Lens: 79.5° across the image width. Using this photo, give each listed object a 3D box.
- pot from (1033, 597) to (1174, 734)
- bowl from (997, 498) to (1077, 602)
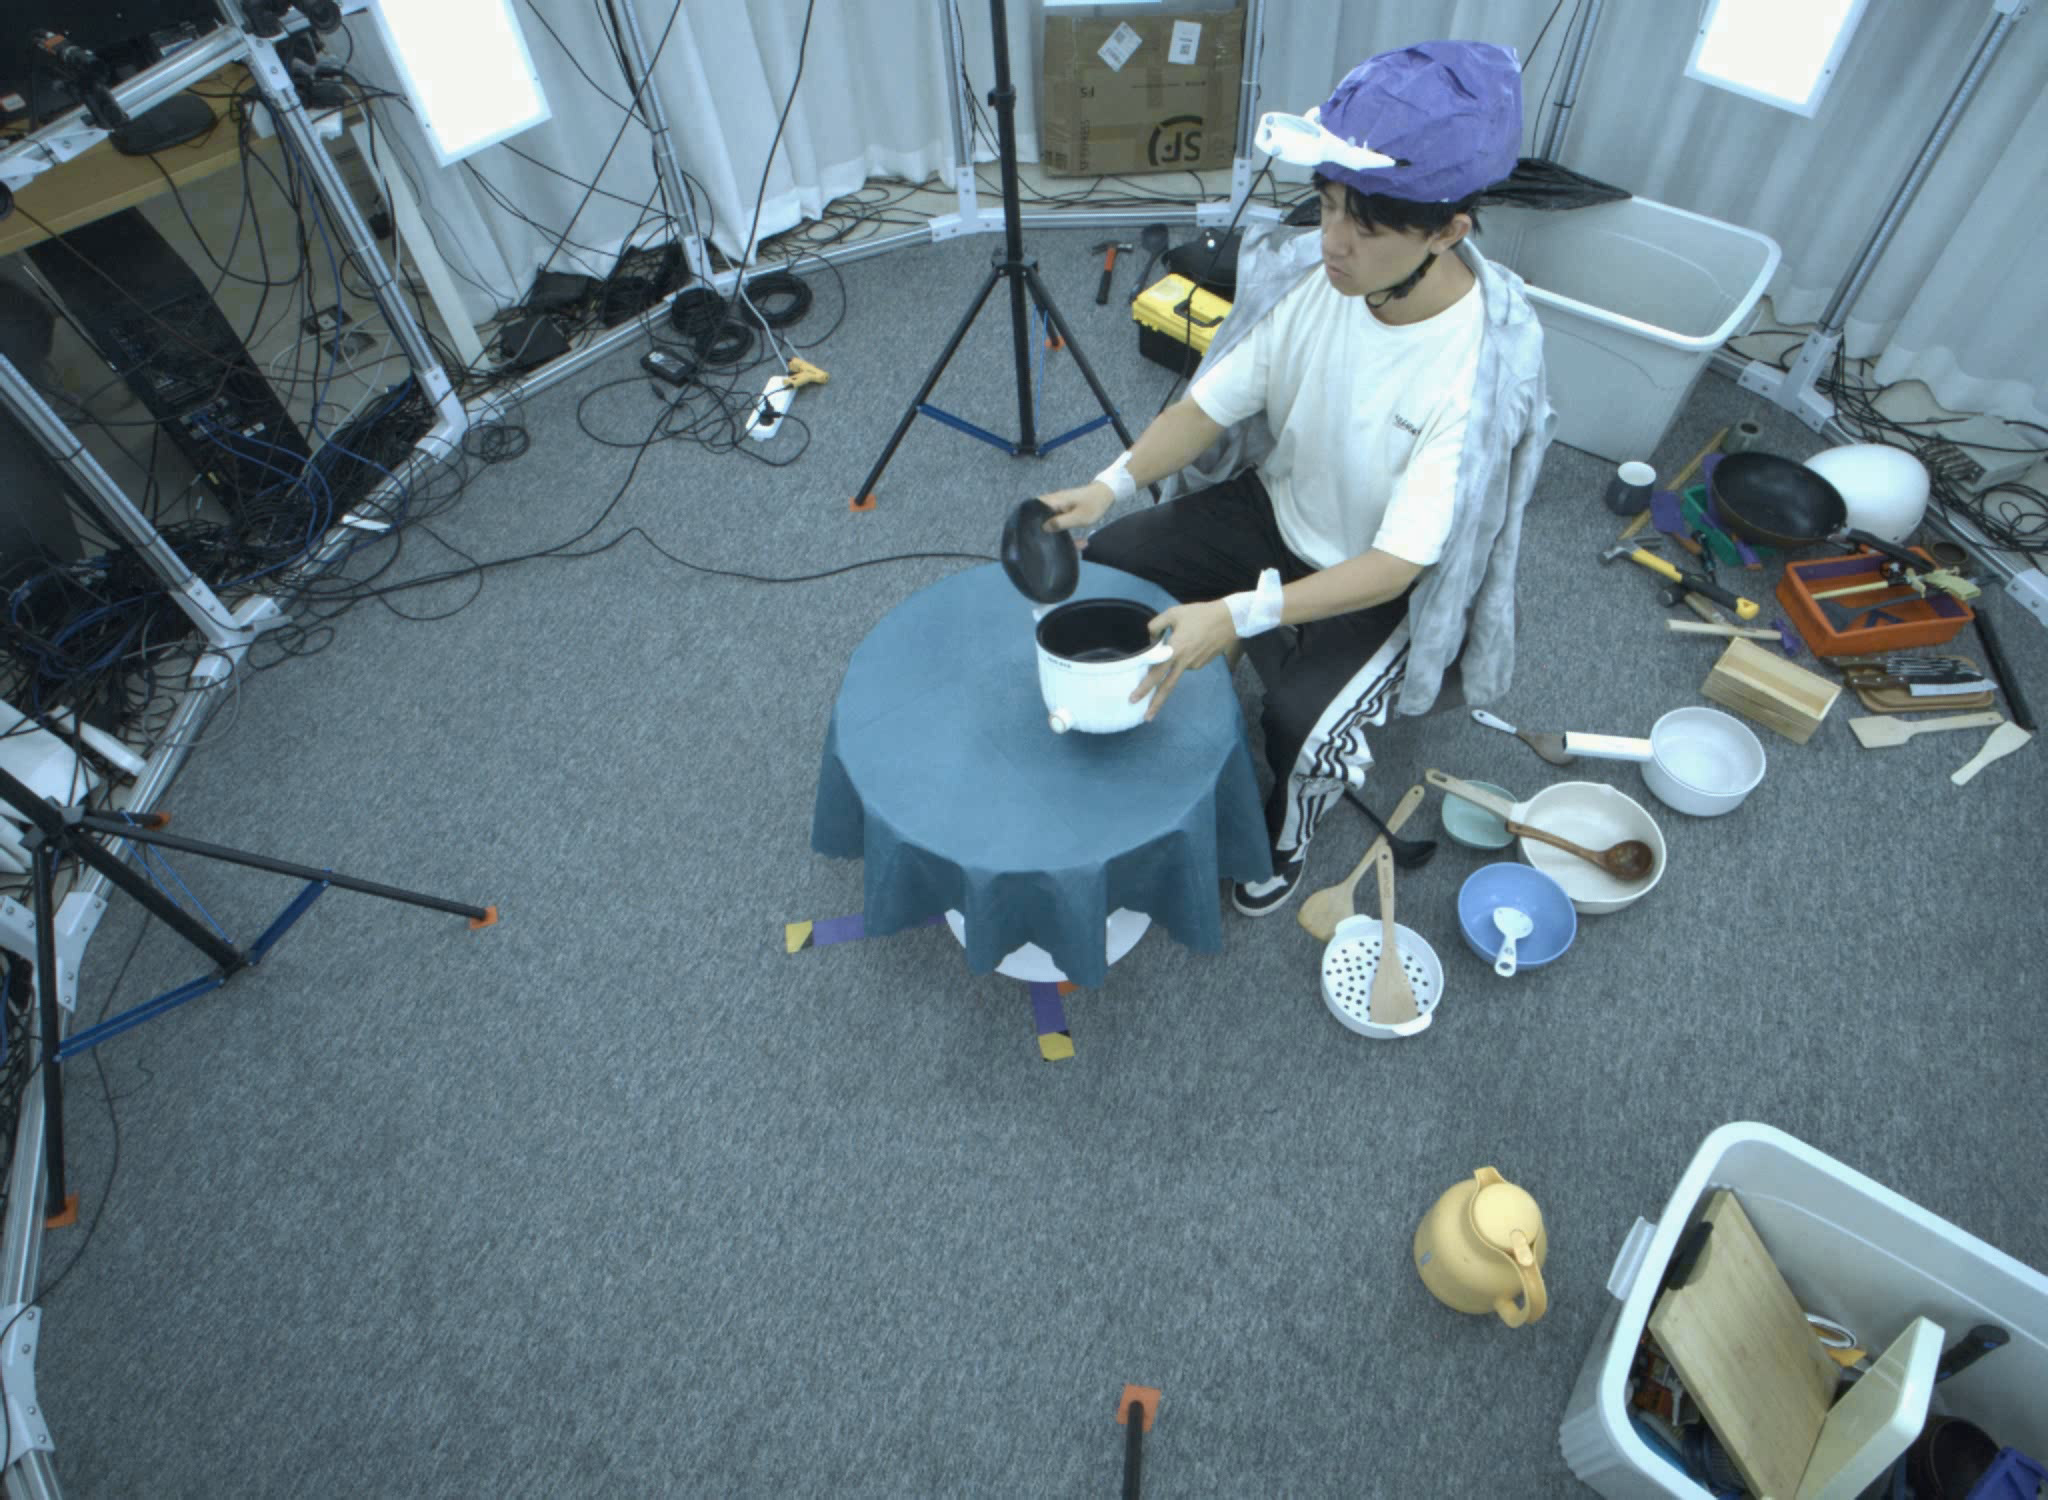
[{"bbox_3d":[0.108,-0.112,1.736,0.235,0.144,0.193,24,41,35],"label":"pot"},{"bbox_3d":[0.006,-0.275,1.714,0.065,0.140,0.169,-19,49,36],"label":"bowl"}]
